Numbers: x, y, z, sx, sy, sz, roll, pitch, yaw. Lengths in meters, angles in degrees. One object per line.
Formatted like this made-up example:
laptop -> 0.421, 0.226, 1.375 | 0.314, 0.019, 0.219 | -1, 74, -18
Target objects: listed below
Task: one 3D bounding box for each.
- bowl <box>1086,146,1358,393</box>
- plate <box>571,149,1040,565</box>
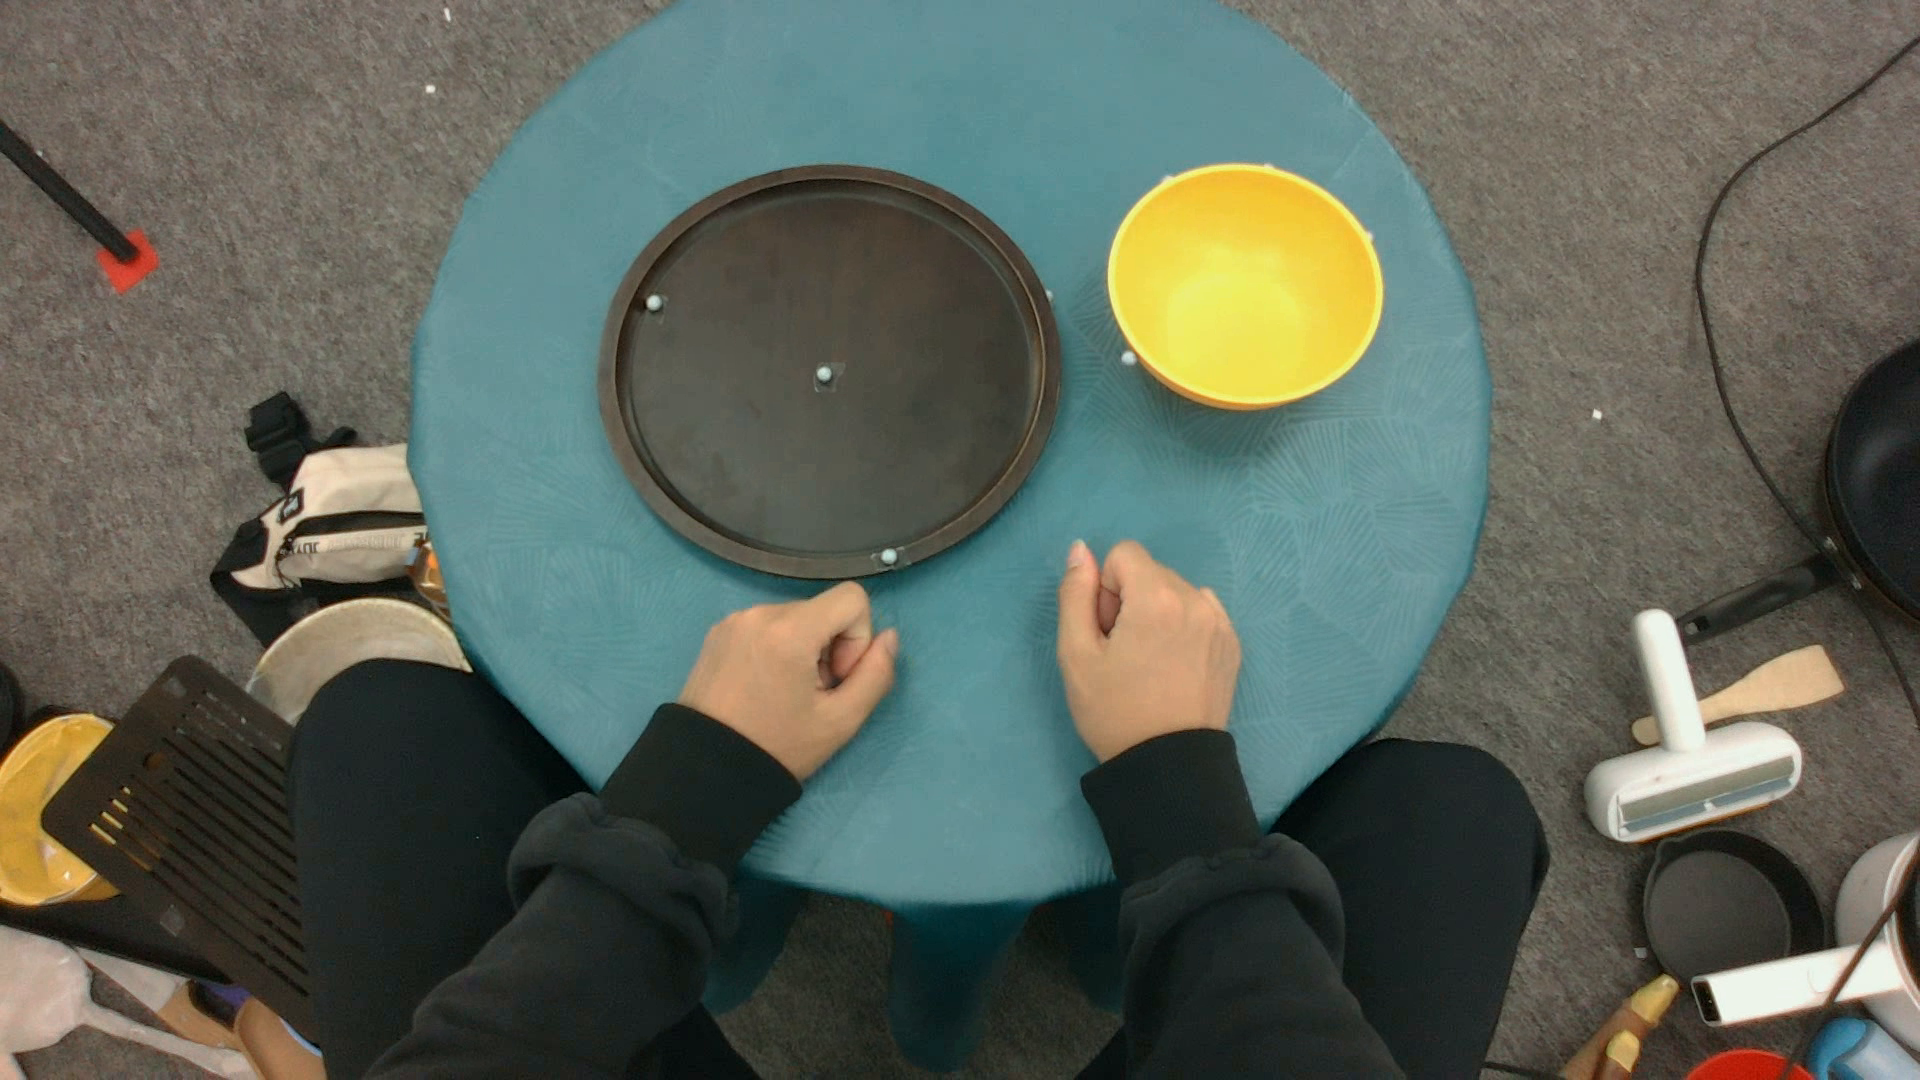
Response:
bowl -> 0.140, -0.139, 0.759 | 0.145, 0.060, 0.145 | 0, 73, 0
plate -> -0.083, -0.104, 0.754 | 0.255, 0.029, 0.255 | 1, 71, -4
